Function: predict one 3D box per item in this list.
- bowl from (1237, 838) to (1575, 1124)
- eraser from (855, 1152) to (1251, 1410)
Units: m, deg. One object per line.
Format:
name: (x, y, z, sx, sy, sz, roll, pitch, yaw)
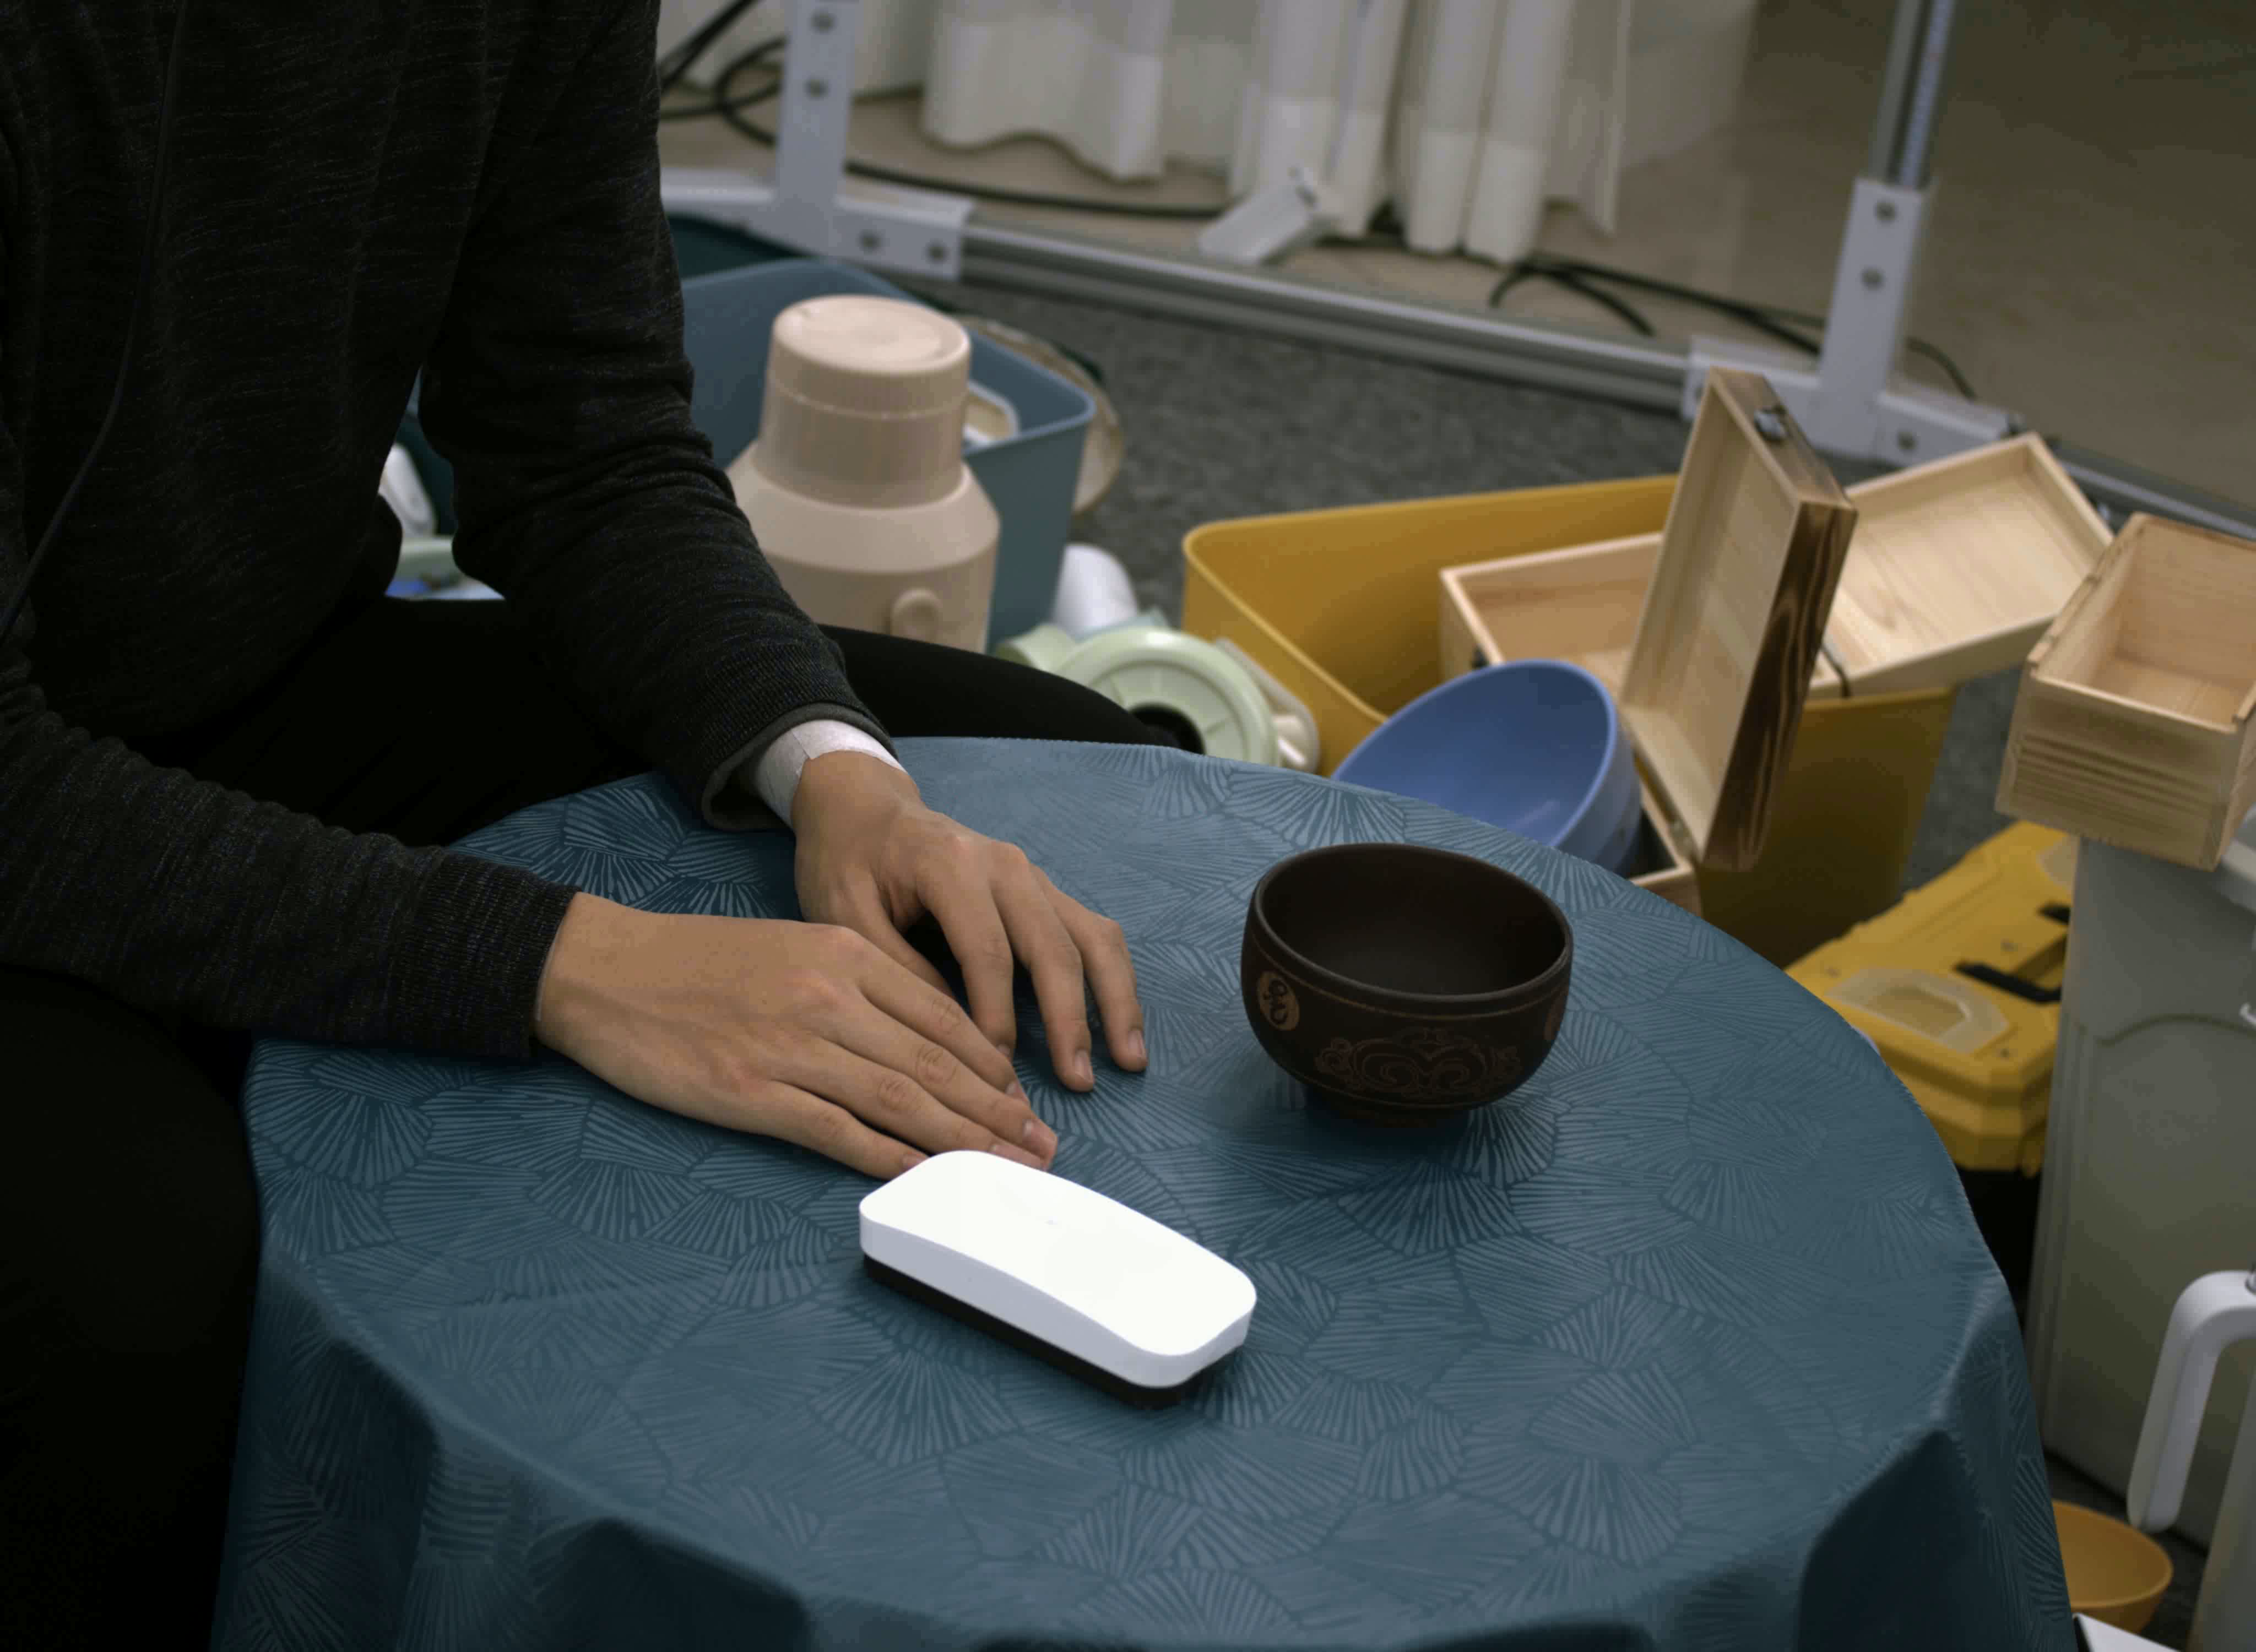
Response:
bowl: (0.095, 0.061, 1.867, 0.117, 0.069, 0.119, 4, 27, -3)
eraser: (-0.025, 0.144, 1.723, 0.132, 0.034, 0.063, 24, 31, 29)
